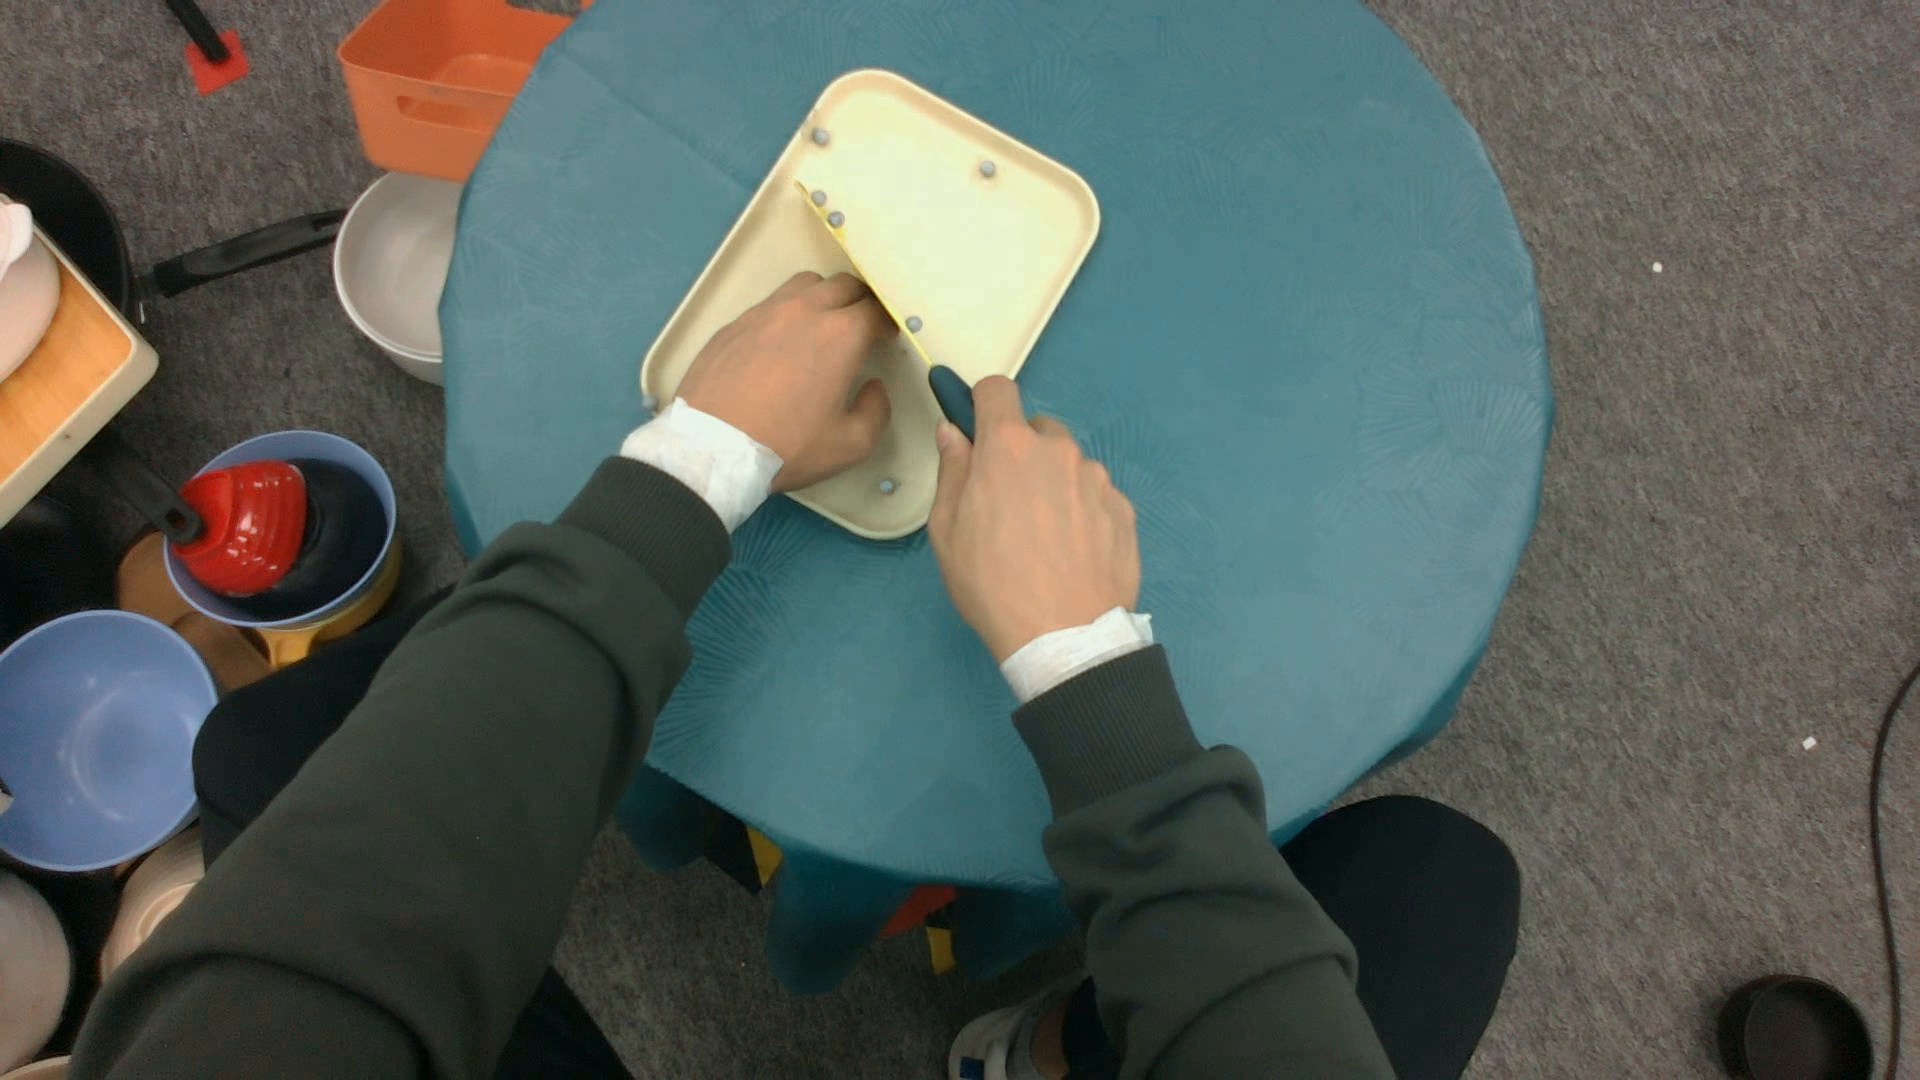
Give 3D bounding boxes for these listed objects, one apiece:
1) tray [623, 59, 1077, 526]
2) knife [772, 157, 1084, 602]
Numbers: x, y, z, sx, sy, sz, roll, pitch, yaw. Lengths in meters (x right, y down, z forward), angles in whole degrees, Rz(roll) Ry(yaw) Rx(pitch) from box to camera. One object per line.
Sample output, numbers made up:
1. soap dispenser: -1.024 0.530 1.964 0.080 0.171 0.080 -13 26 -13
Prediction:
1. tray: -0.054 -0.135 0.733 0.171 0.017 0.240 28 73 2
2. knife: -0.022 -0.087 0.680 0.027 0.081 0.290 -35 70 5
